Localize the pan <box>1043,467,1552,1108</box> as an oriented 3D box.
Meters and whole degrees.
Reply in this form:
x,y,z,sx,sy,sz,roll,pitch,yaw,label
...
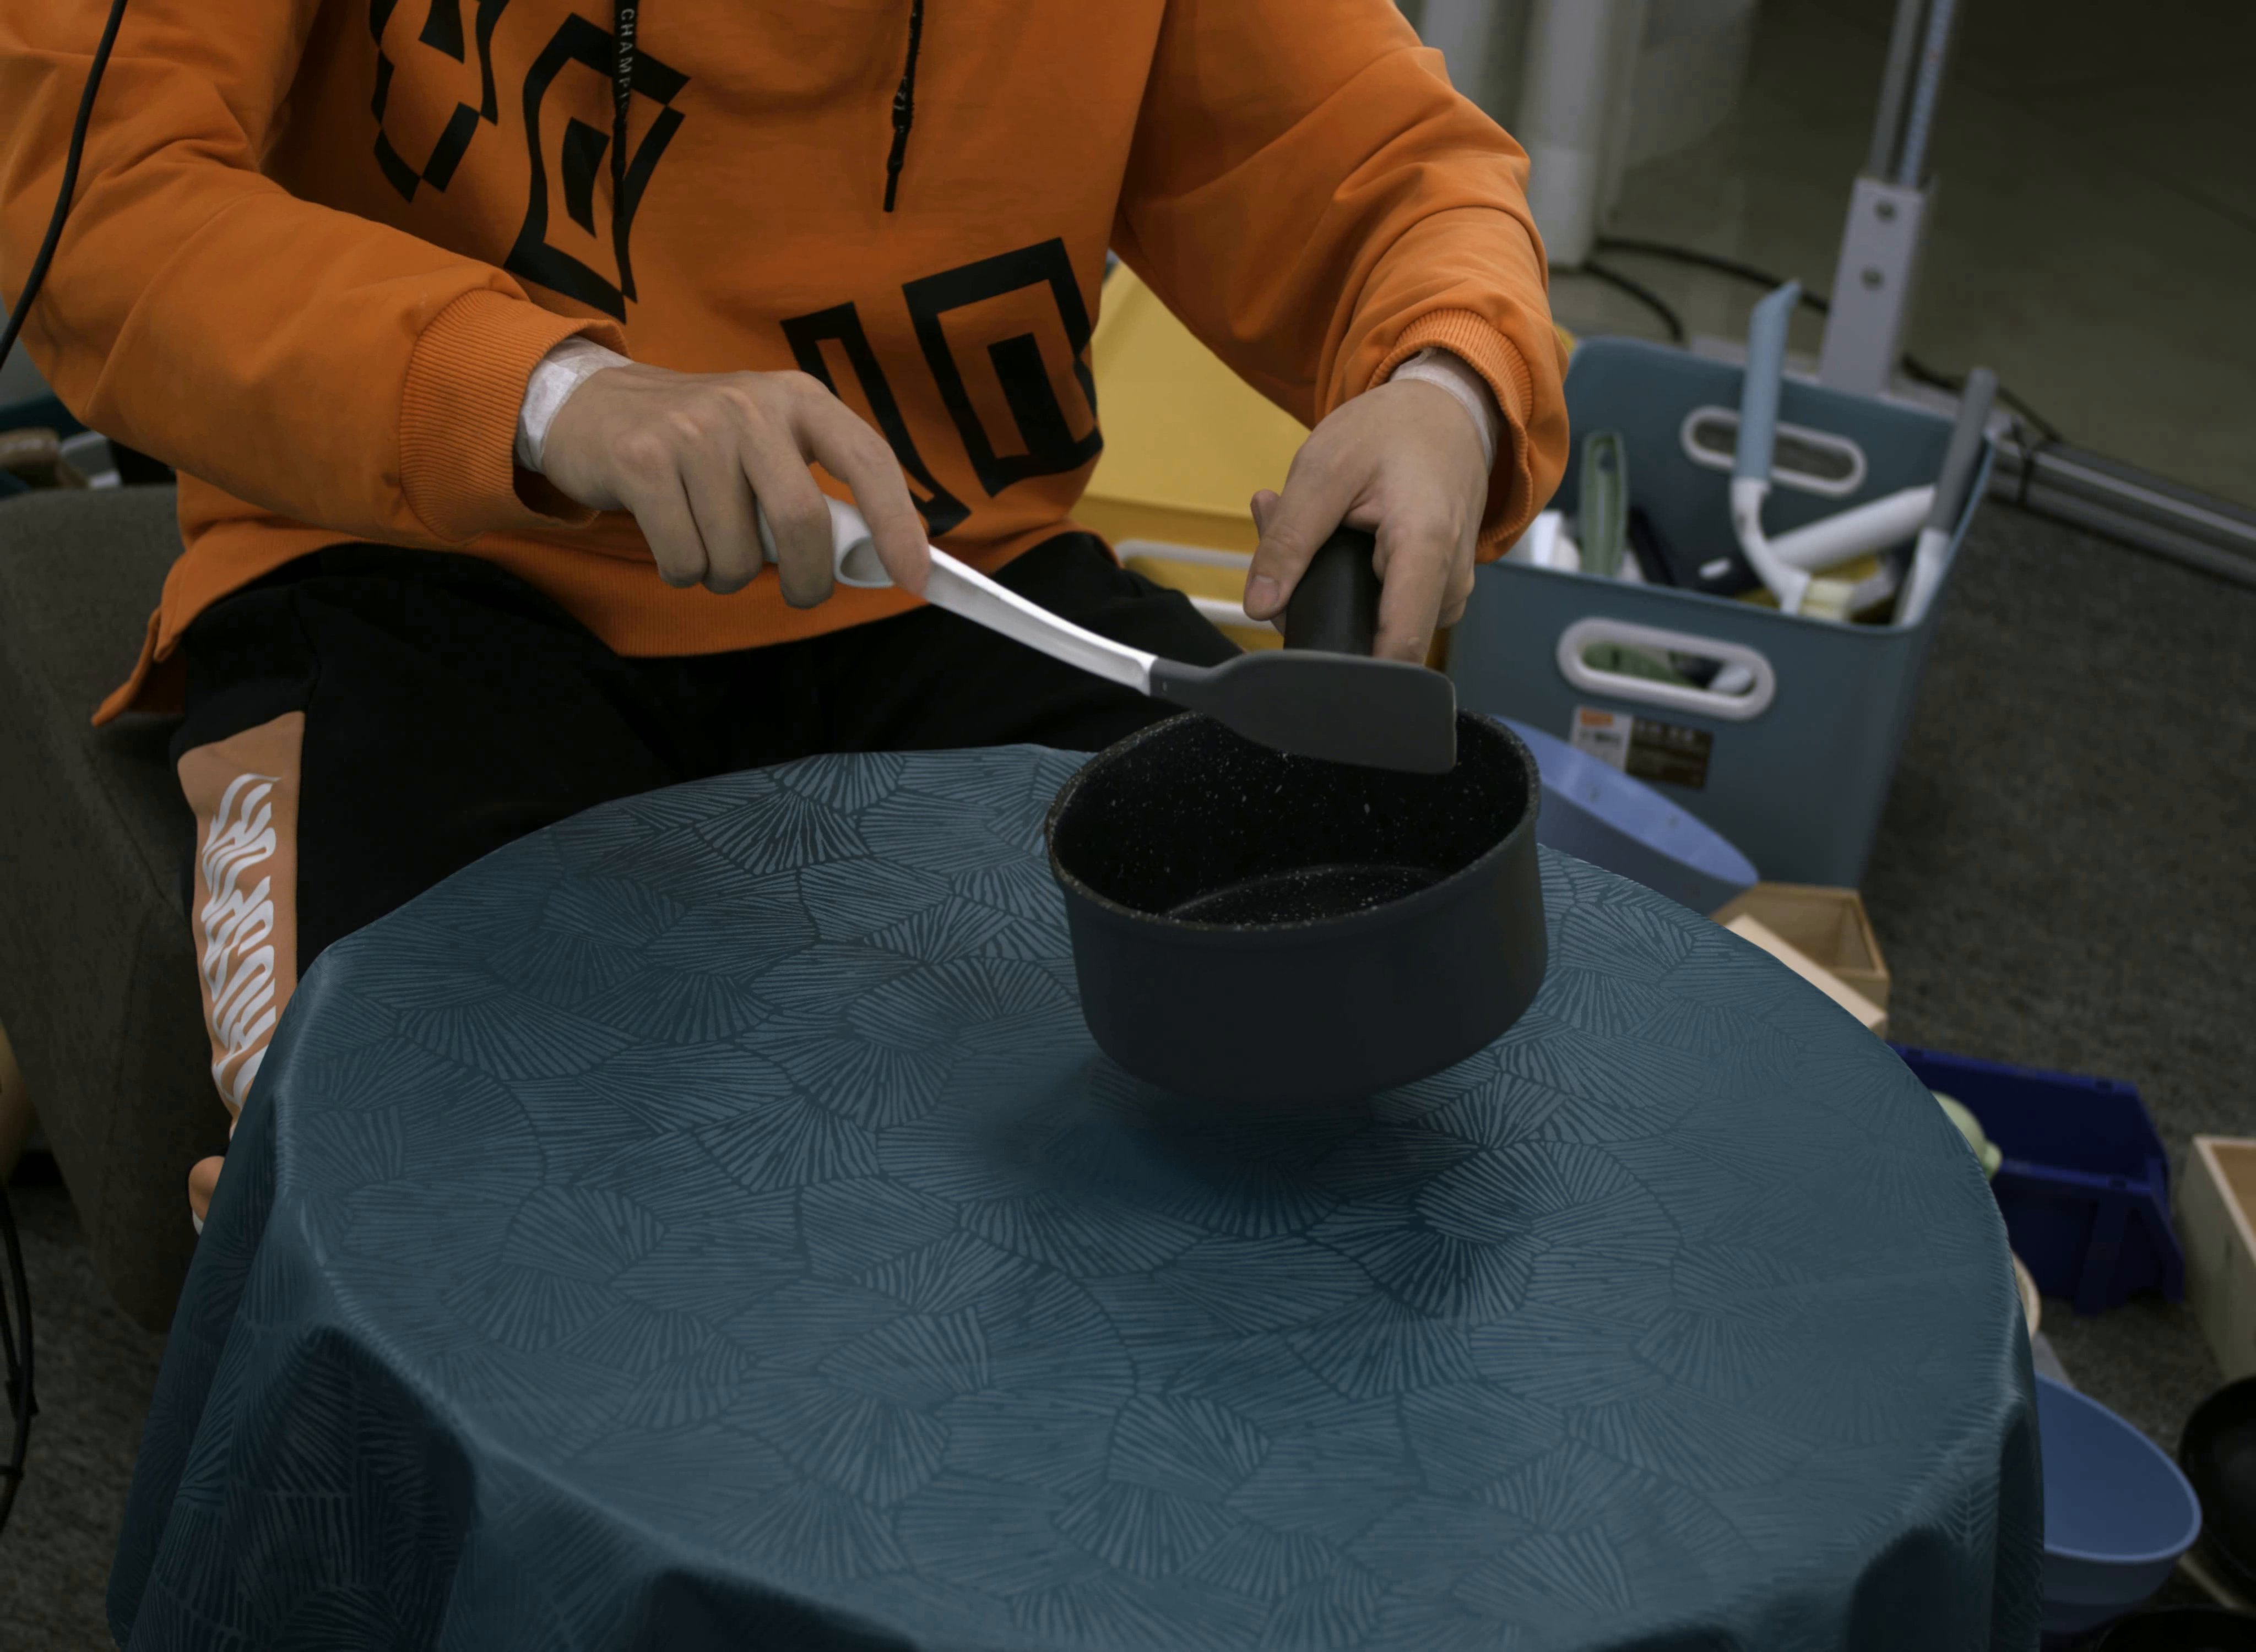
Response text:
x,y,z,sx,sy,sz,roll,pitch,yaw,label
0.071,-0.017,1.896,0.172,0.086,0.330,-2,30,11,pan

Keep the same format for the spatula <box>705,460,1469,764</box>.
x,y,z,sx,sy,sz,roll,pitch,yaw,label
-0.016,-0.073,1.852,0.288,0.058,0.032,18,47,20,spatula
